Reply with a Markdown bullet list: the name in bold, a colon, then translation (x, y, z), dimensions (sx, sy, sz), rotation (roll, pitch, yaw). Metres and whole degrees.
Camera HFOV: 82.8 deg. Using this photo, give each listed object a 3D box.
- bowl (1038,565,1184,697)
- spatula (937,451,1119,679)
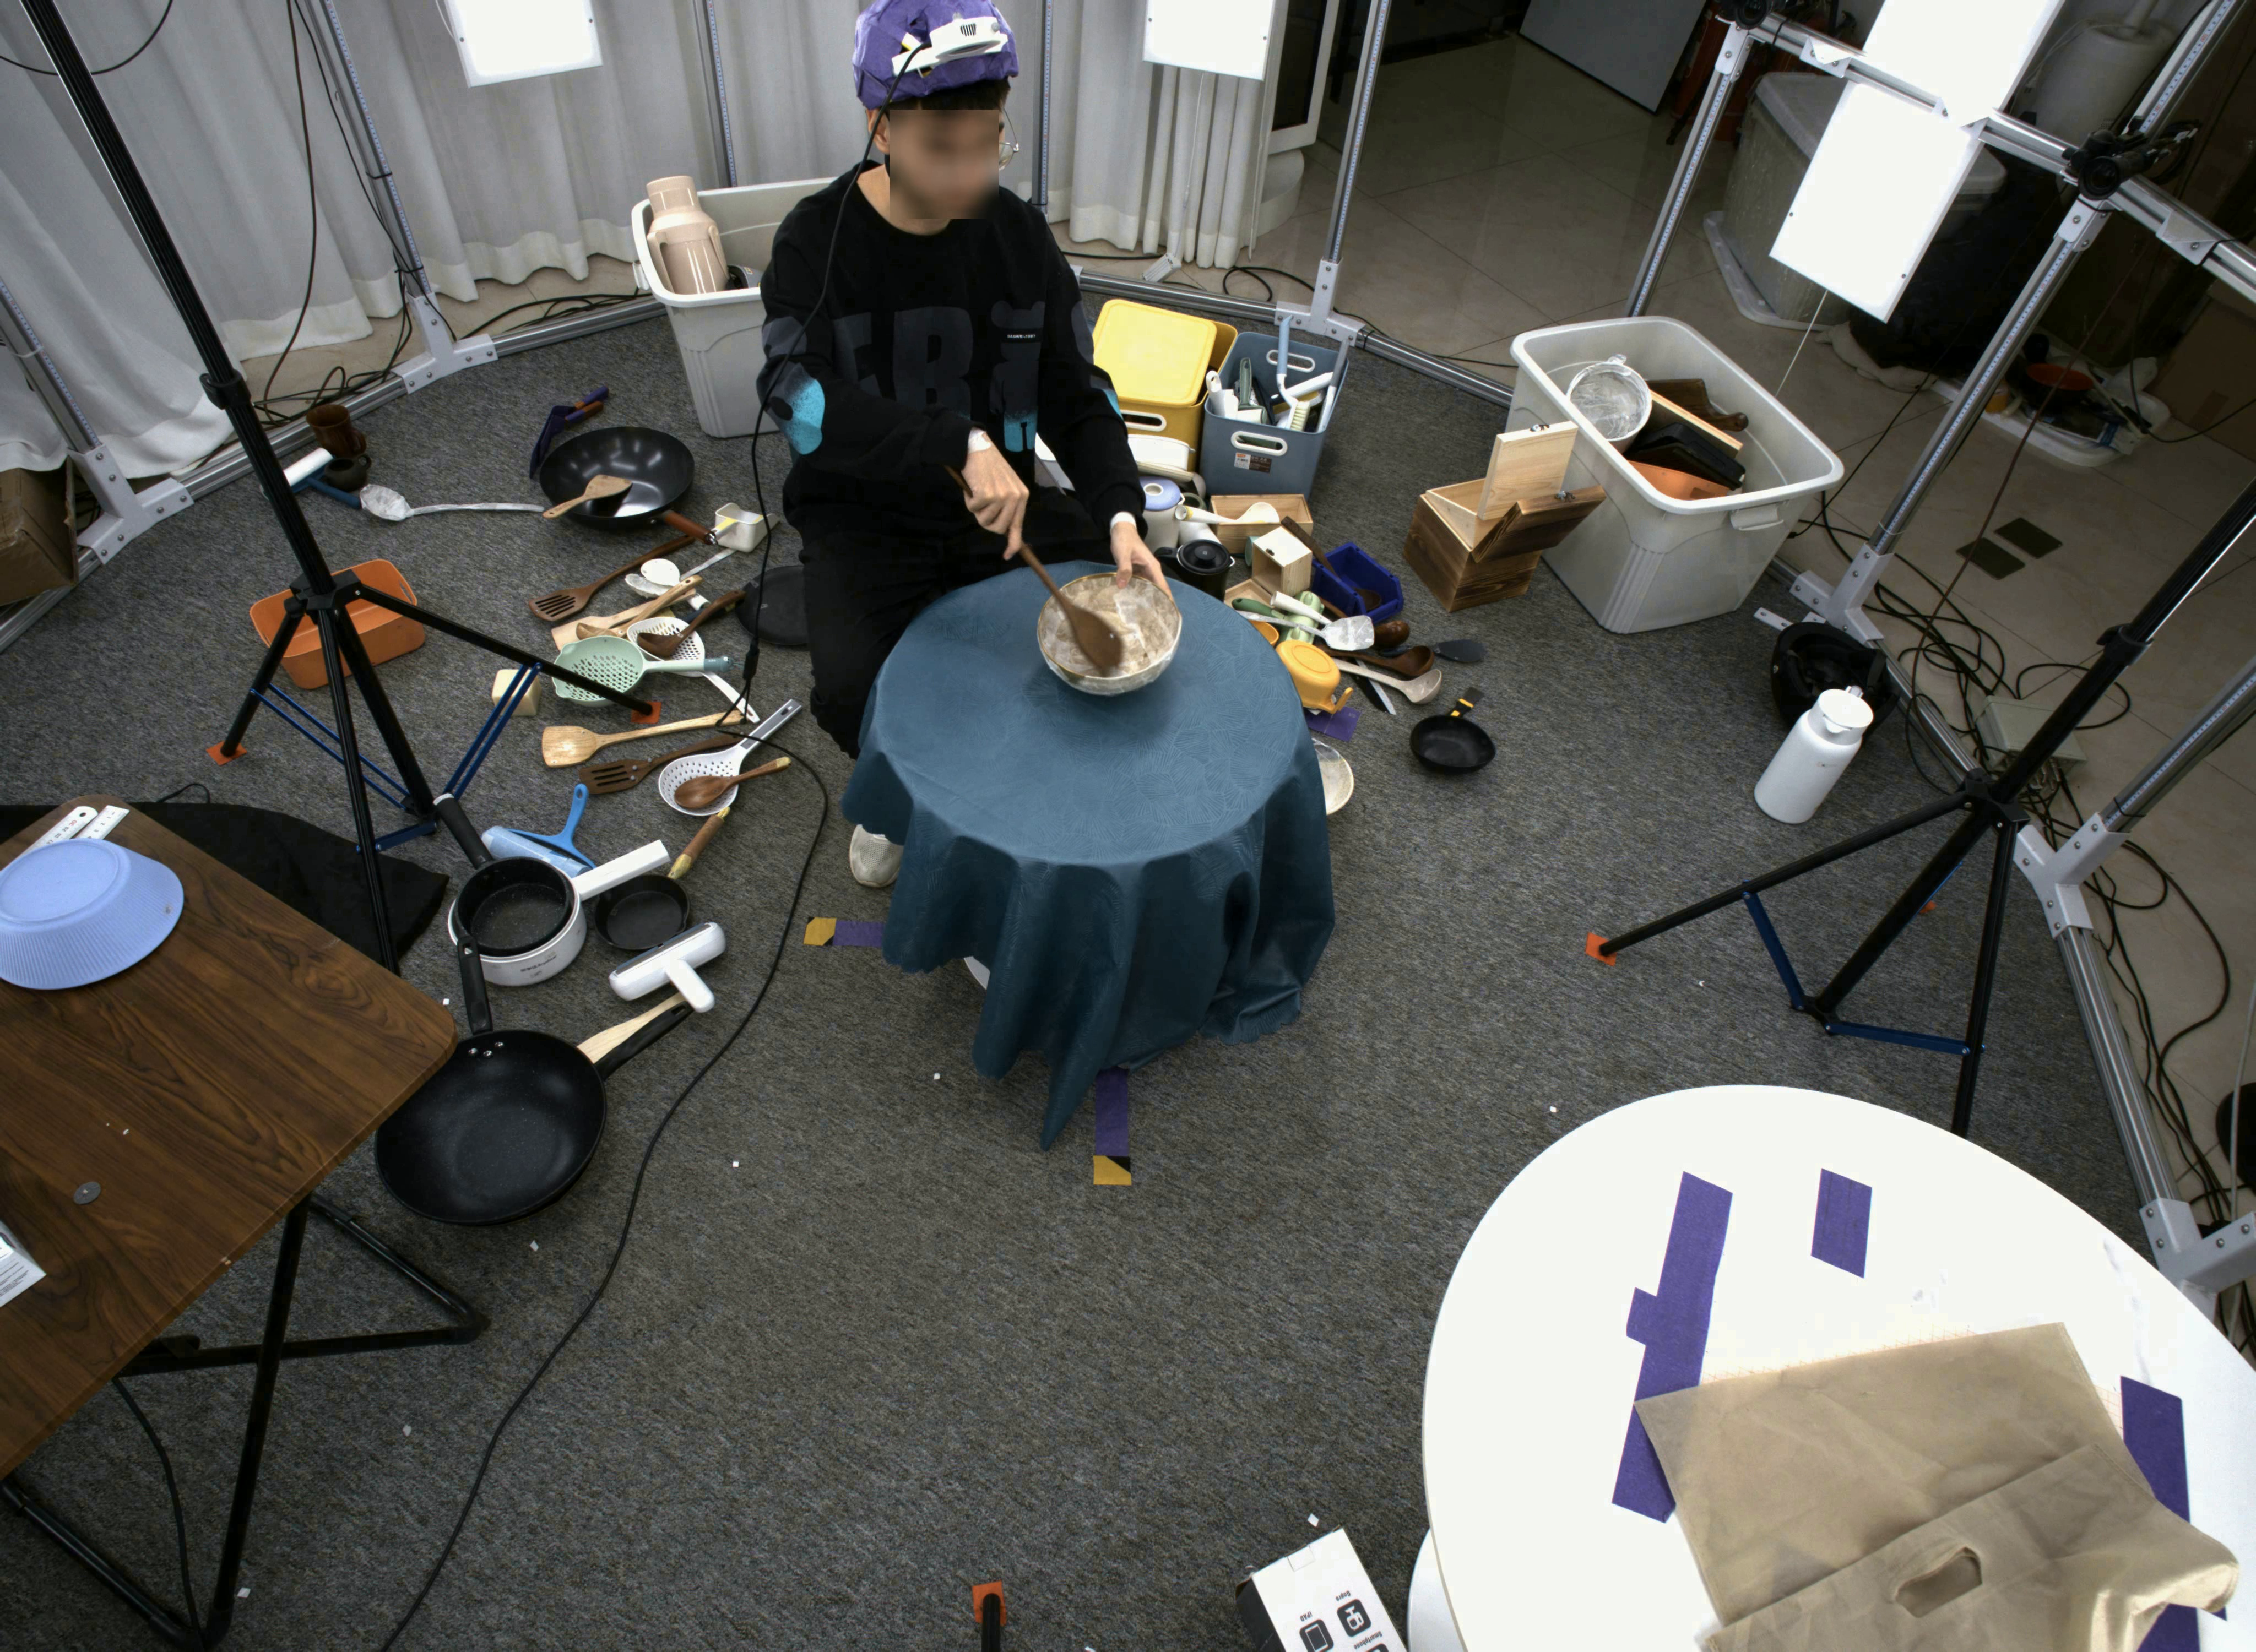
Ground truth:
- **bowl**: translation (-0.023, -0.266, 1.836), dimensions (0.214, 0.092, 0.219), rotation (-1, 62, 1)
- **spatula**: translation (-0.133, -0.359, 1.774), dimensions (0.015, 0.380, 0.098), rotation (-25, 28, 32)
